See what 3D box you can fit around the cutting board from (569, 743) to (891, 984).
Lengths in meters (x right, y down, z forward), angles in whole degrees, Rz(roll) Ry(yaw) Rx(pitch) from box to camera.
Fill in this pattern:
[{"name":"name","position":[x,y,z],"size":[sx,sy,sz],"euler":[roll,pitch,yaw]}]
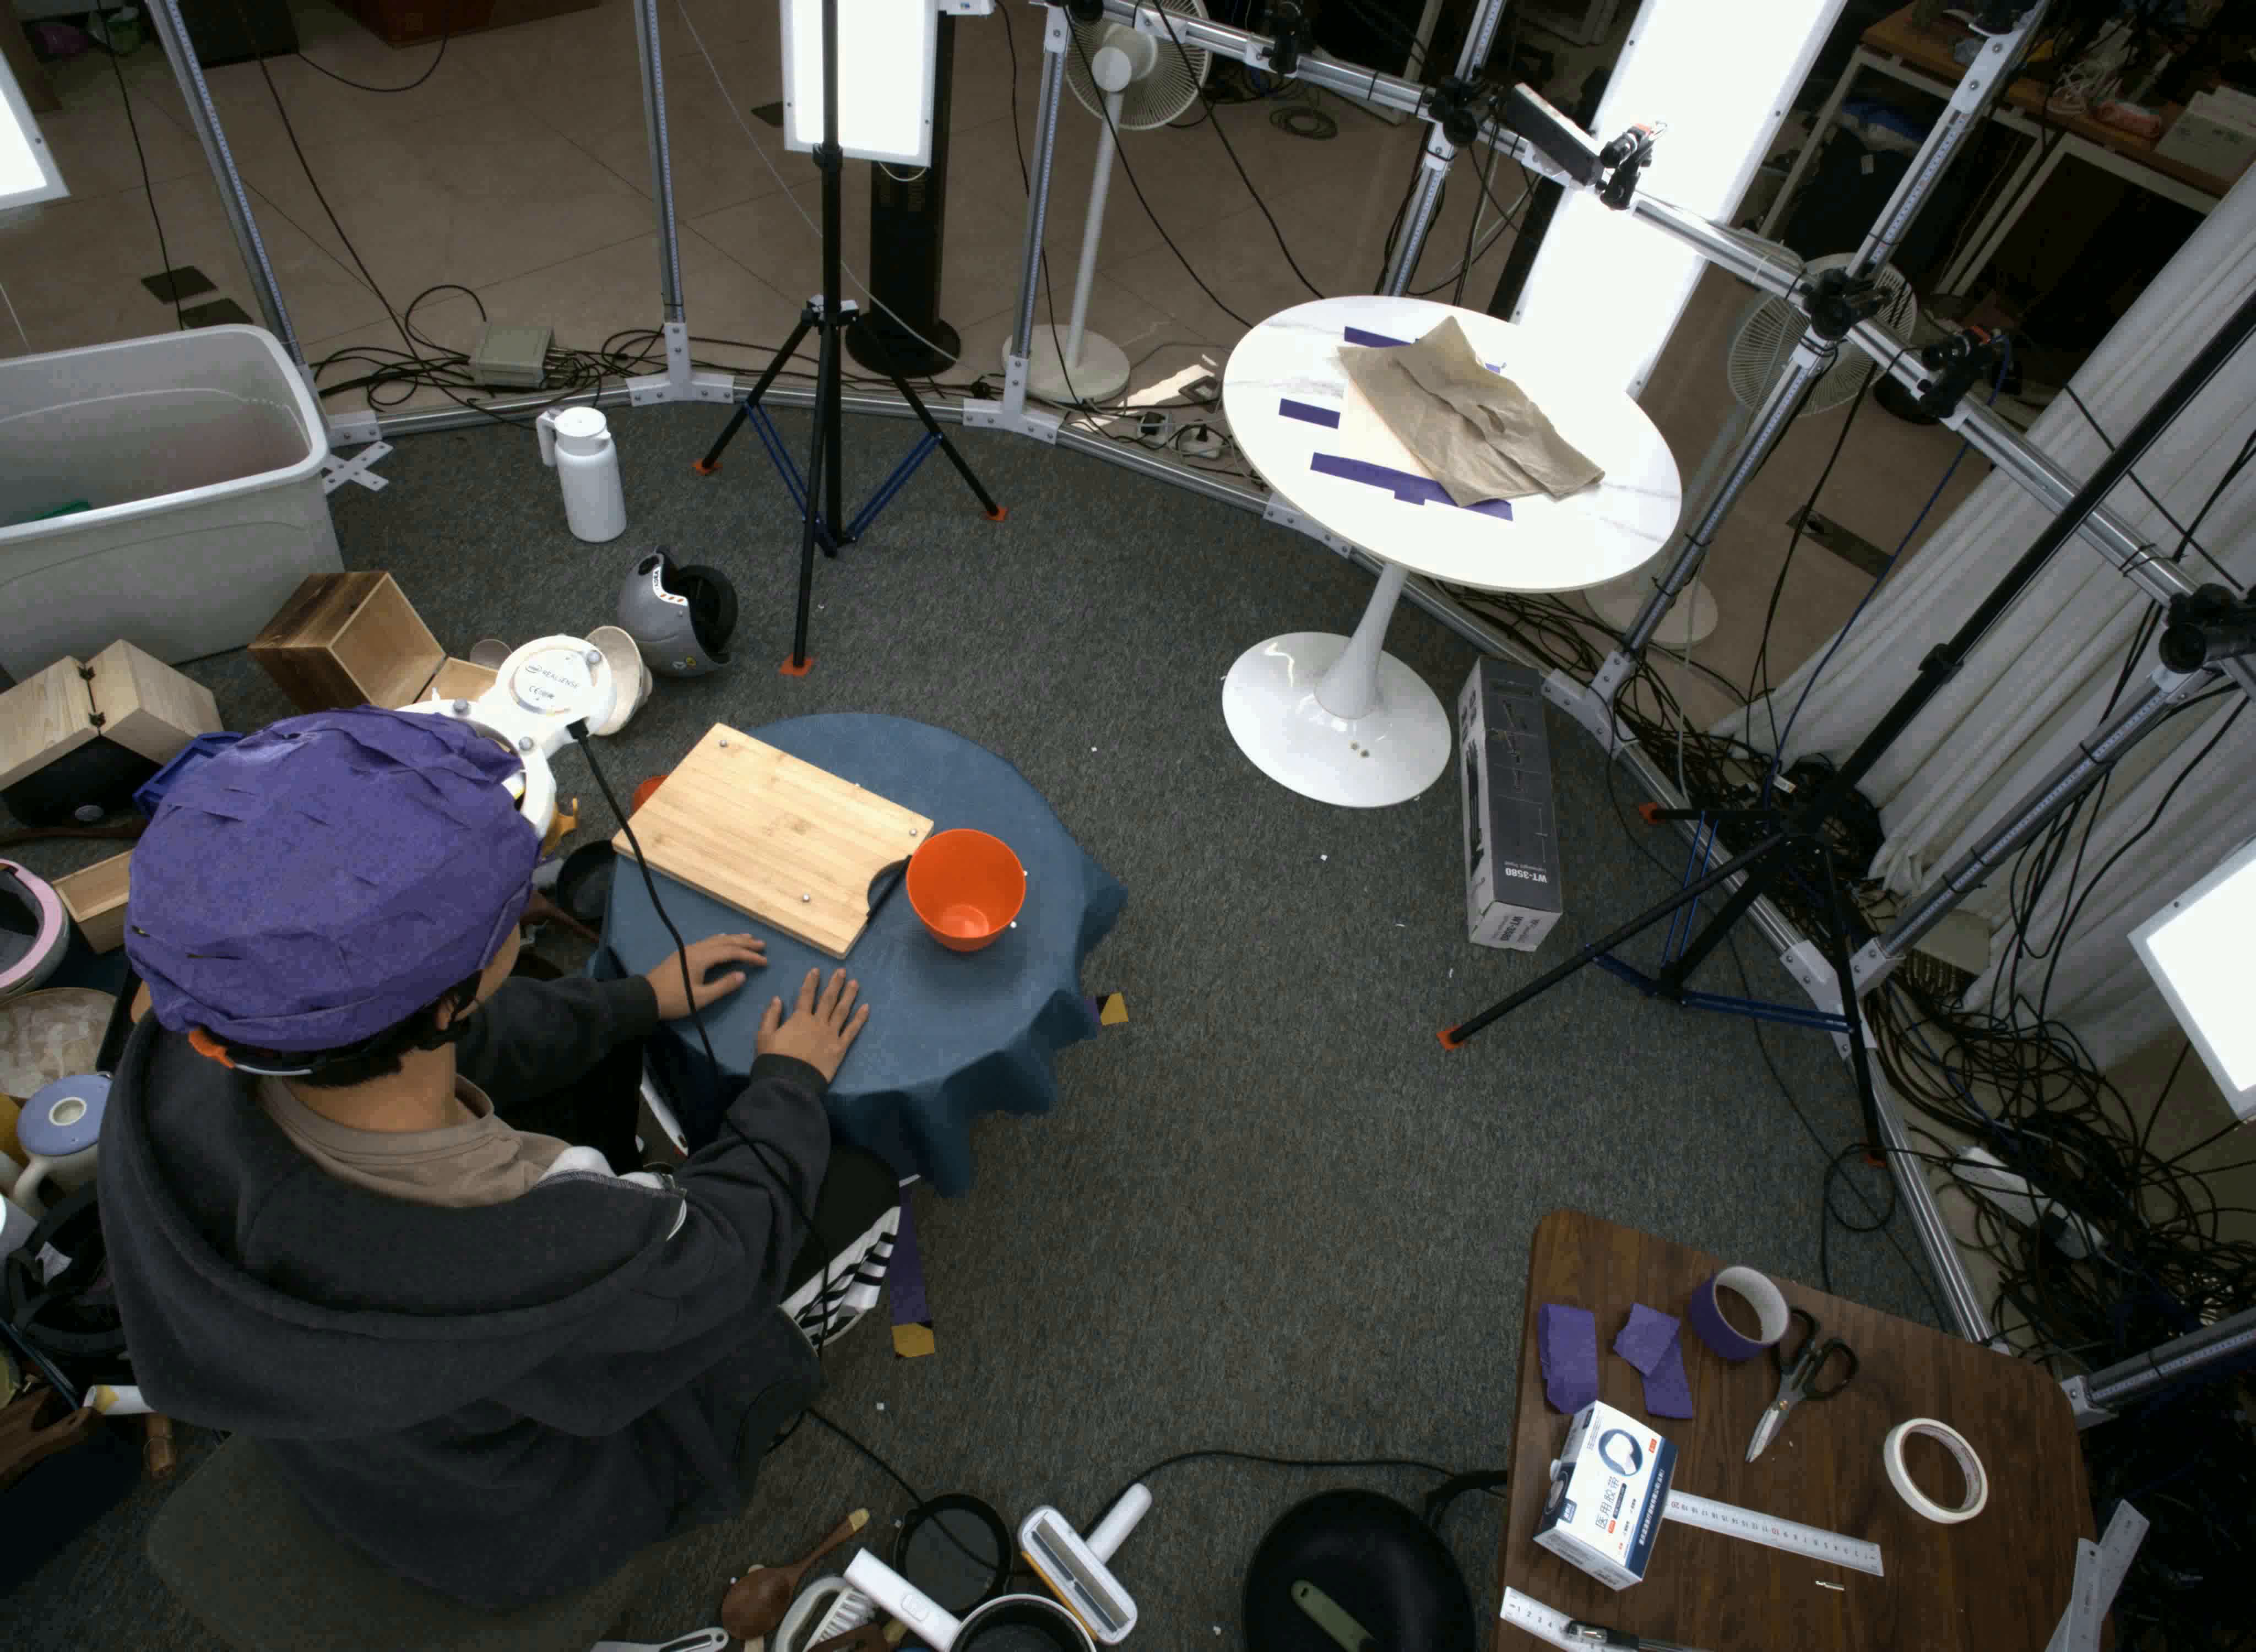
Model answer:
[{"name":"cutting board","position":[-0.513,0.039,1.667],"size":[0.345,0.024,0.248],"euler":[21,52,2]}]

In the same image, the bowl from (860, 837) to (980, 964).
[{"name":"bowl","position":[-0.261,0.104,1.628],"size":[0.148,0.107,0.145],"euler":[8,51,-9]}]
